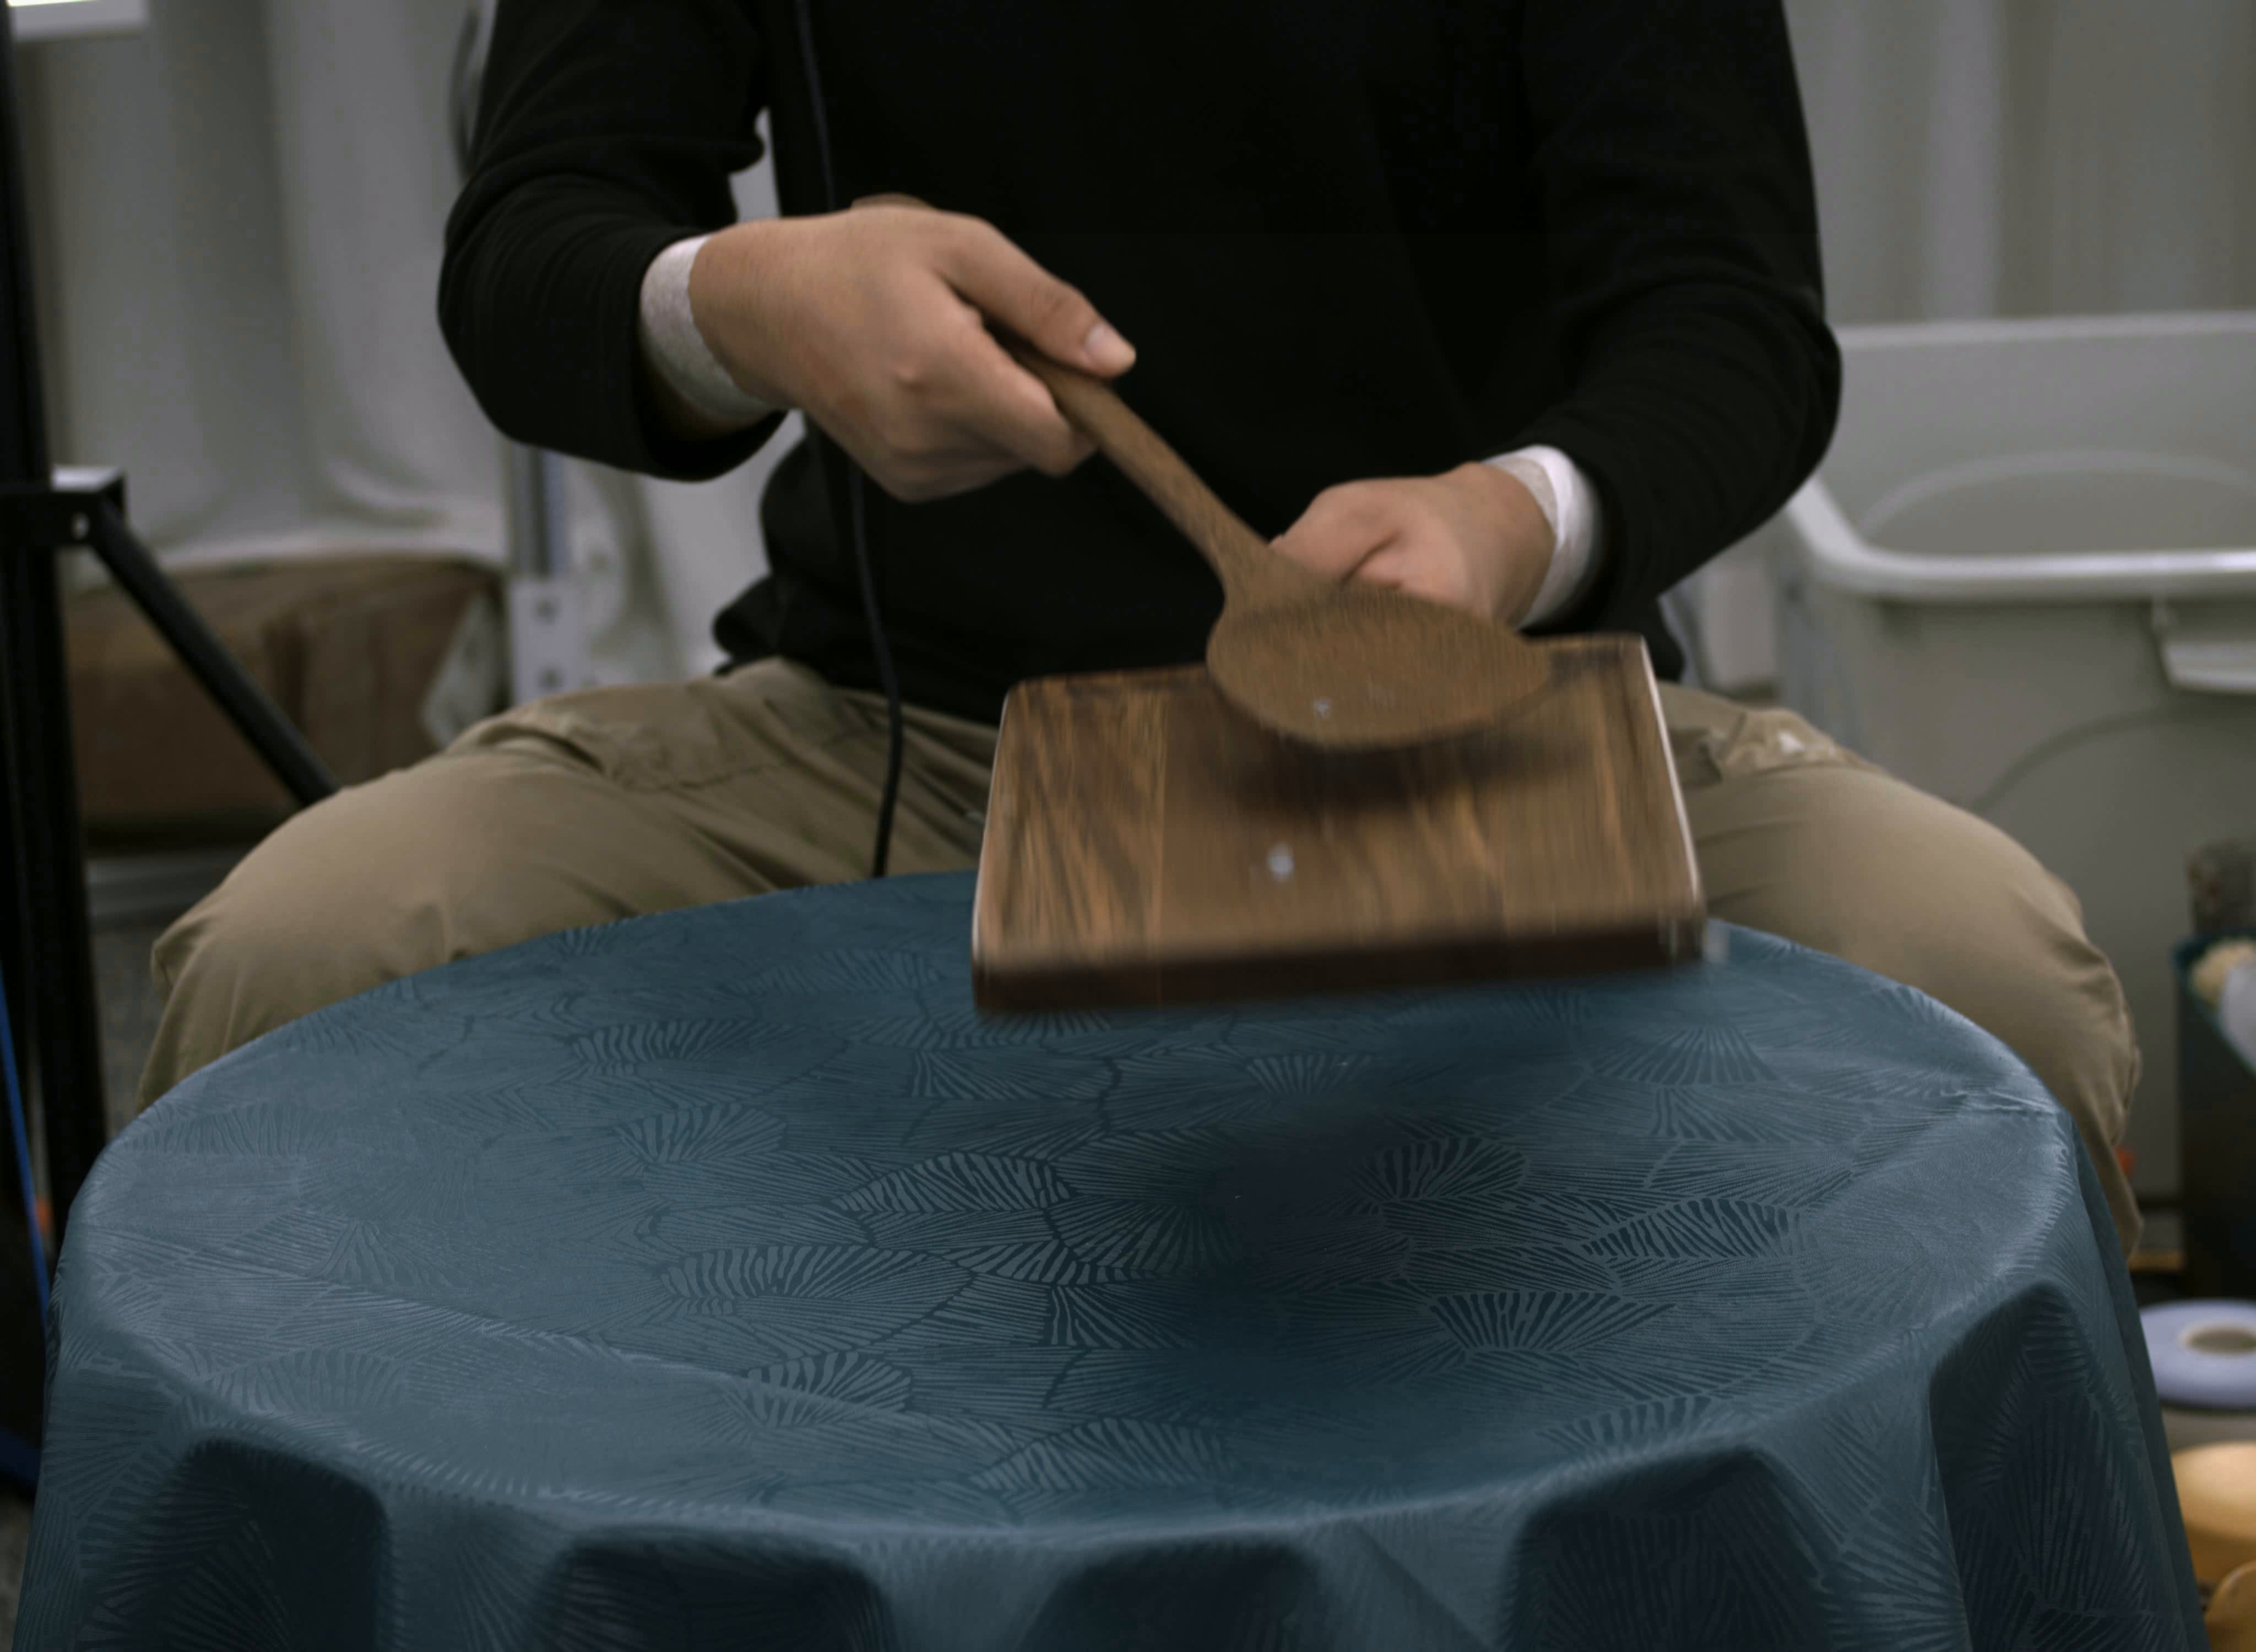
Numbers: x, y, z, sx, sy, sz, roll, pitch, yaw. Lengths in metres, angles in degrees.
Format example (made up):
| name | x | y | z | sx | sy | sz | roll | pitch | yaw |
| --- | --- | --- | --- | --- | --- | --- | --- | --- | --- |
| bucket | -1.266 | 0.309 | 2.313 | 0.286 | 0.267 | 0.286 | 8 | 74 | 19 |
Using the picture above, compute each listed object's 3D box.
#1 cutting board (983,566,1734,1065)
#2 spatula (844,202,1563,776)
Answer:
| name | x | y | z | sx | sy | sz | roll | pitch | yaw |
| --- | --- | --- | --- | --- | --- | --- | --- | --- | --- |
| cutting board | 0.060 | -0.013 | 1.546 | 0.200 | 0.023 | 0.354 | -5 | 20 | 3 |
| spatula | 0.001 | -0.112 | 1.636 | 0.094 | 0.016 | 0.394 | -15 | 36 | -23 |
